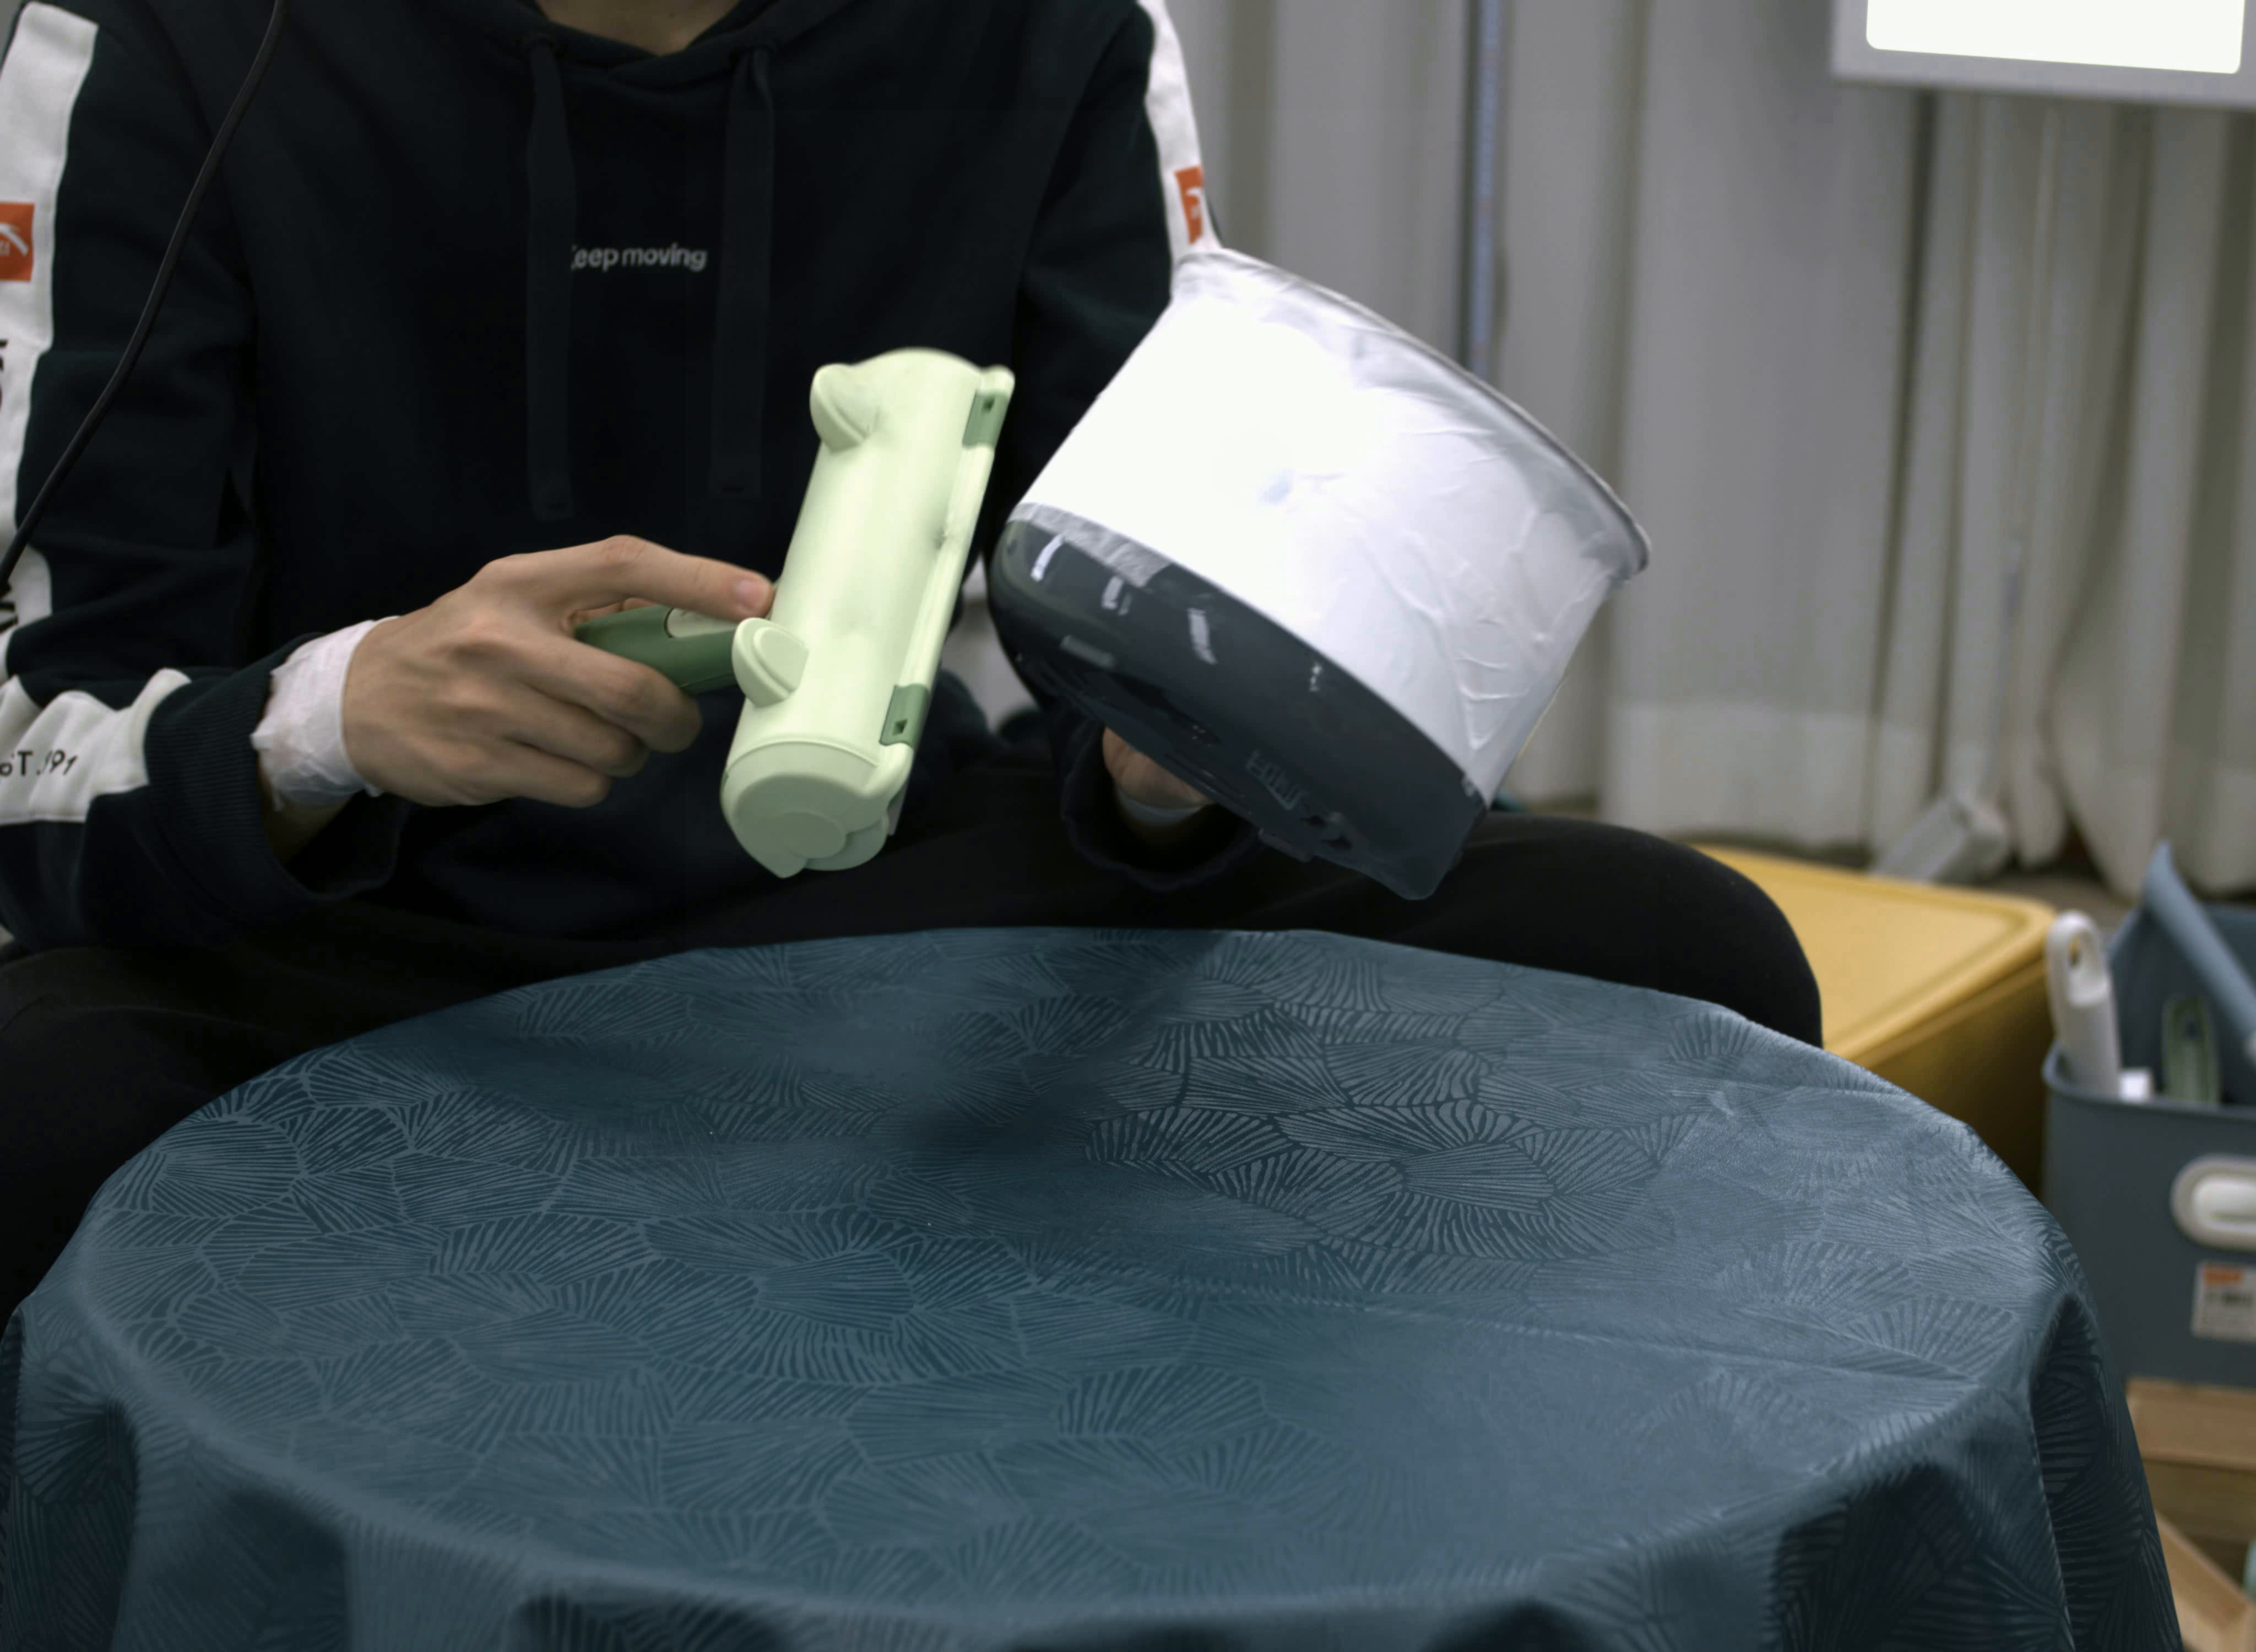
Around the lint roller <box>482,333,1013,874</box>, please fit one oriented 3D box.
[{"bbox_3d":[-0.135,-0.071,1.661,0.182,0.083,0.197,-7,46,20],"label":"lint roller"}]

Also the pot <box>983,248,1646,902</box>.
[{"bbox_3d":[0.049,-0.076,1.676,0.179,0.136,0.233,34,-7,-7],"label":"pot"}]
